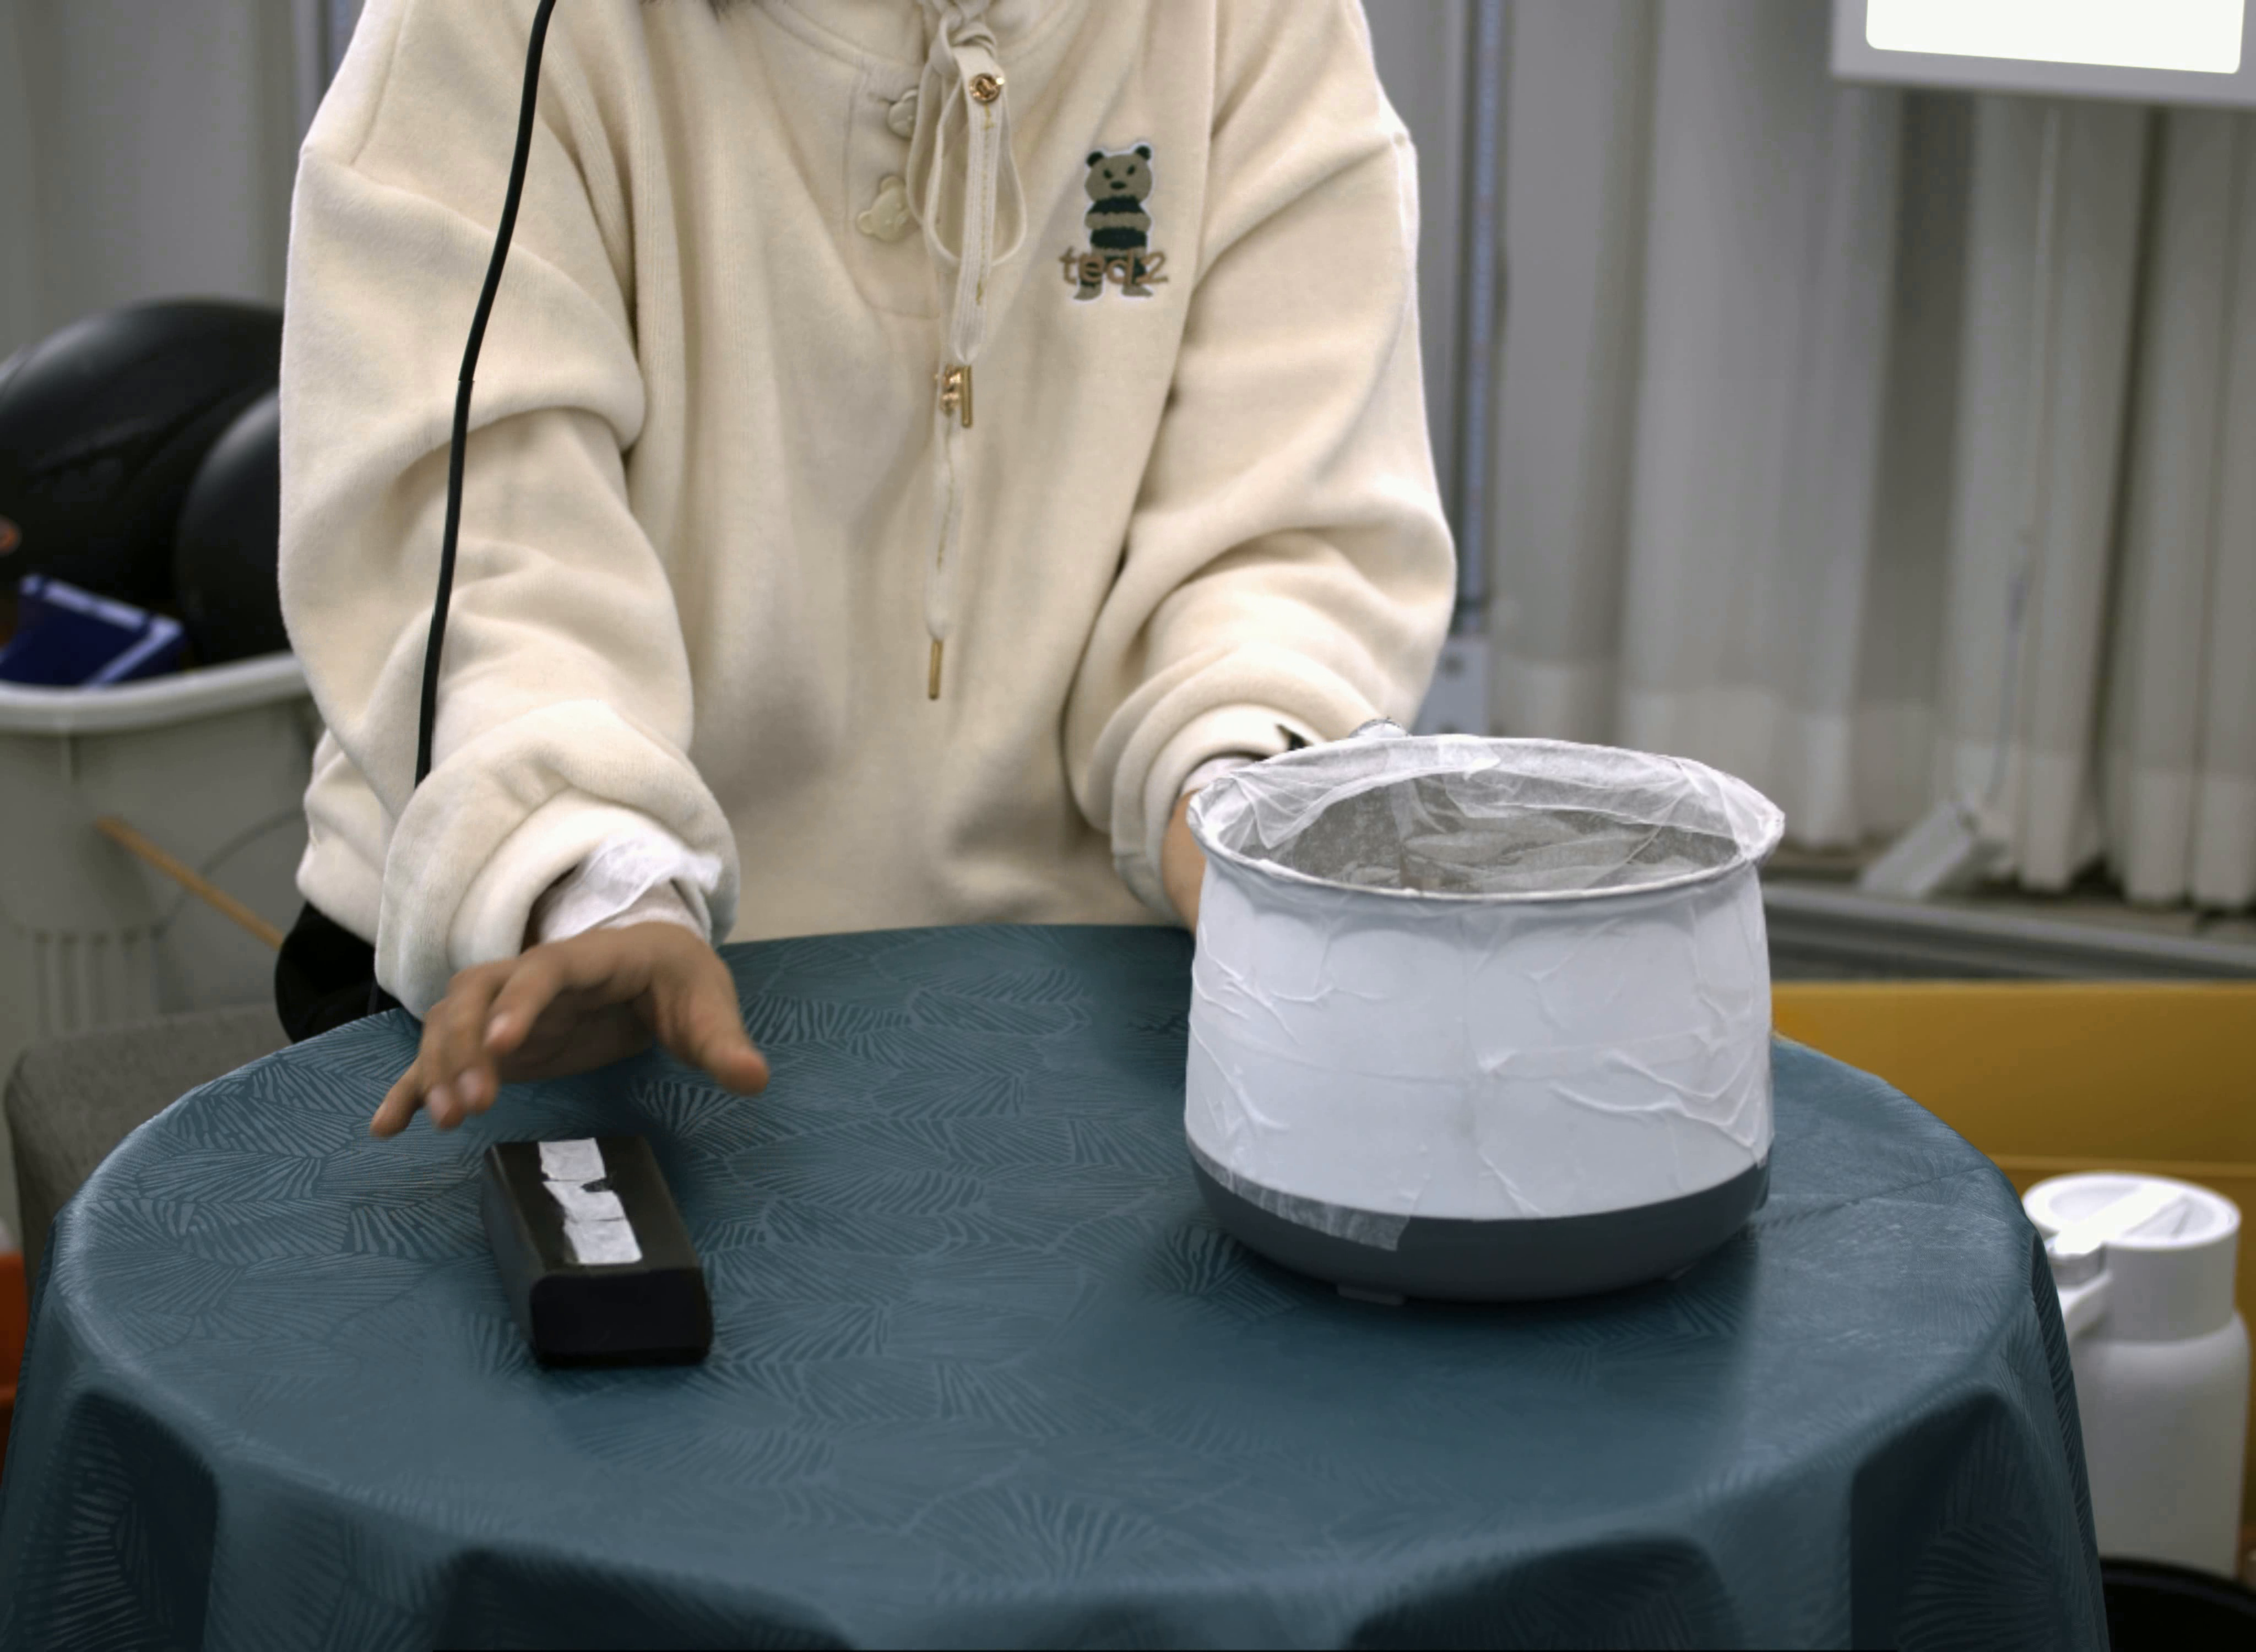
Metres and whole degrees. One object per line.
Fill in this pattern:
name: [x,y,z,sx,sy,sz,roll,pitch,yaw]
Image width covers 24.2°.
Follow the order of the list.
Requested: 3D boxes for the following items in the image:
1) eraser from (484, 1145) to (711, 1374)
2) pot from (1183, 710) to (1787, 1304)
eraser: [-0.154,0.124,1.523,0.053,0.031,0.124,-2,15,-12]
pot: [0.097,0.049,1.592,0.179,0.138,0.231,-4,17,-16]
